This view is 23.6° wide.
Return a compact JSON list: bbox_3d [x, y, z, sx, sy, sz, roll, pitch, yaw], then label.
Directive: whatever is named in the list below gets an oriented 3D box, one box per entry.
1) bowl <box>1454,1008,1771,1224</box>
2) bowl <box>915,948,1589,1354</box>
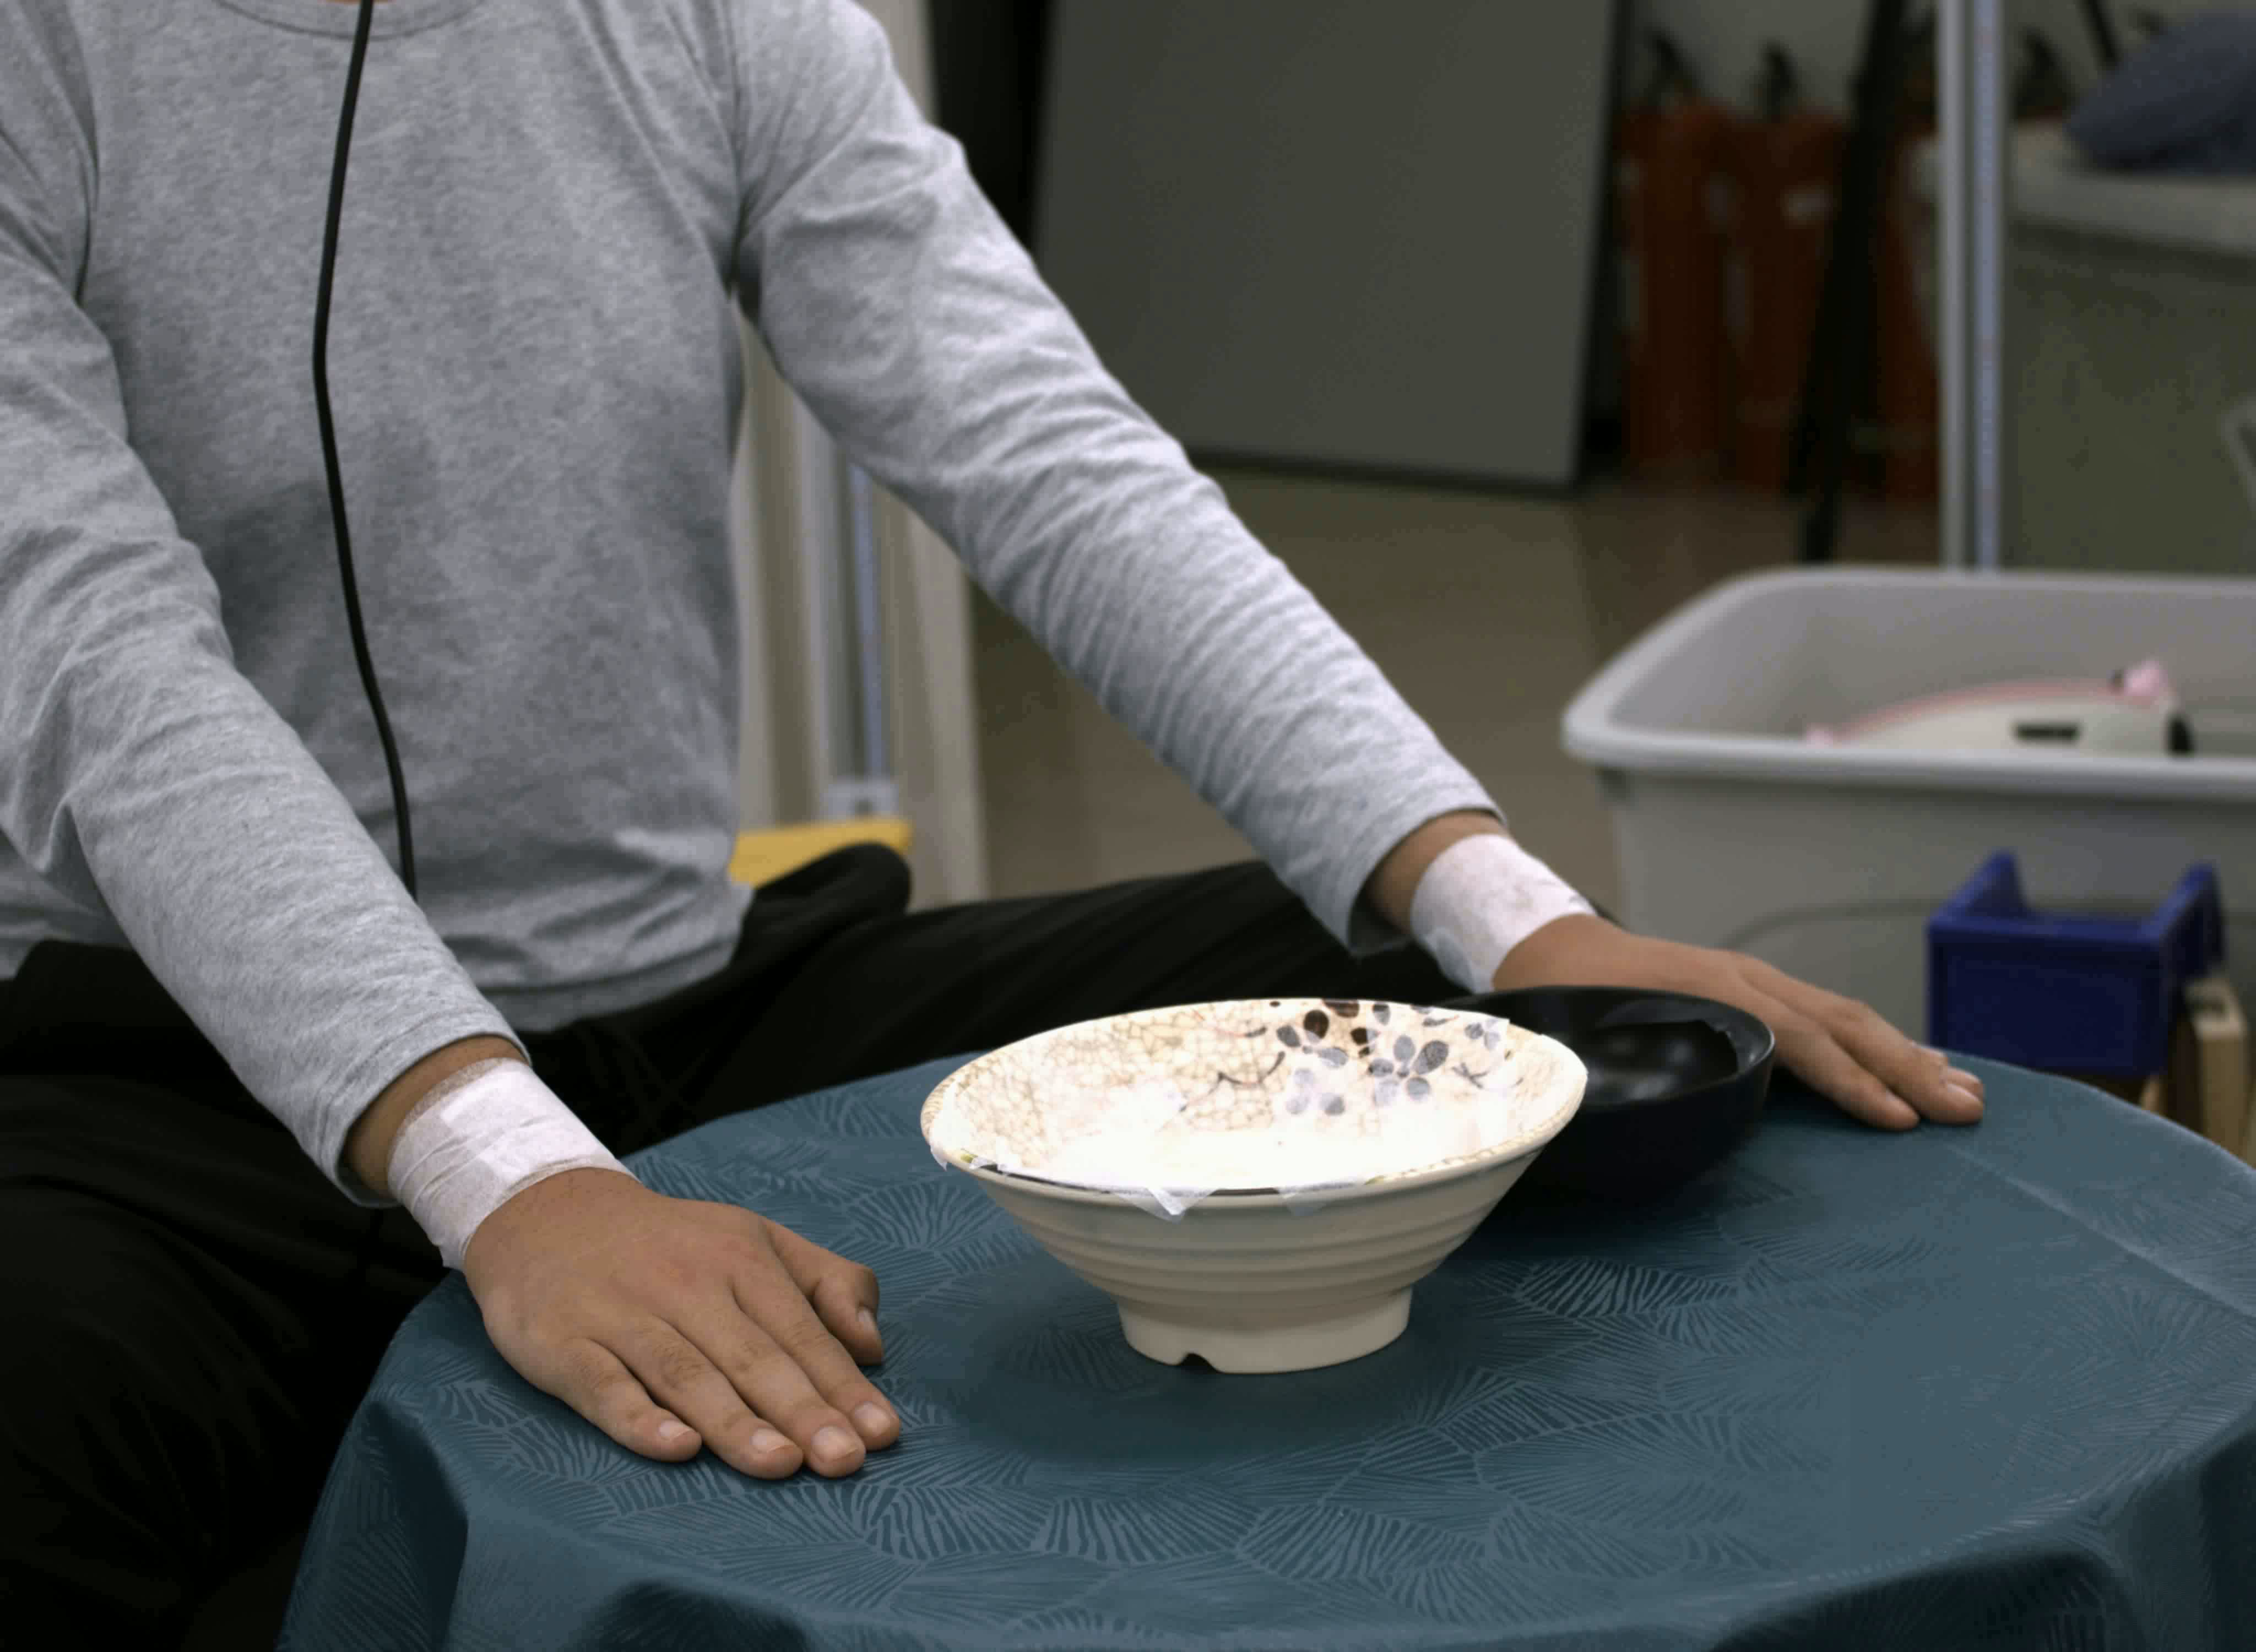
[{"bbox_3d":[0.141,0.097,1.742,0.138,0.050,0.140,-6,8,0],"label":"bowl"},{"bbox_3d":[0.035,0.105,1.615,0.201,0.079,0.204,2,17,-1],"label":"bowl"}]
